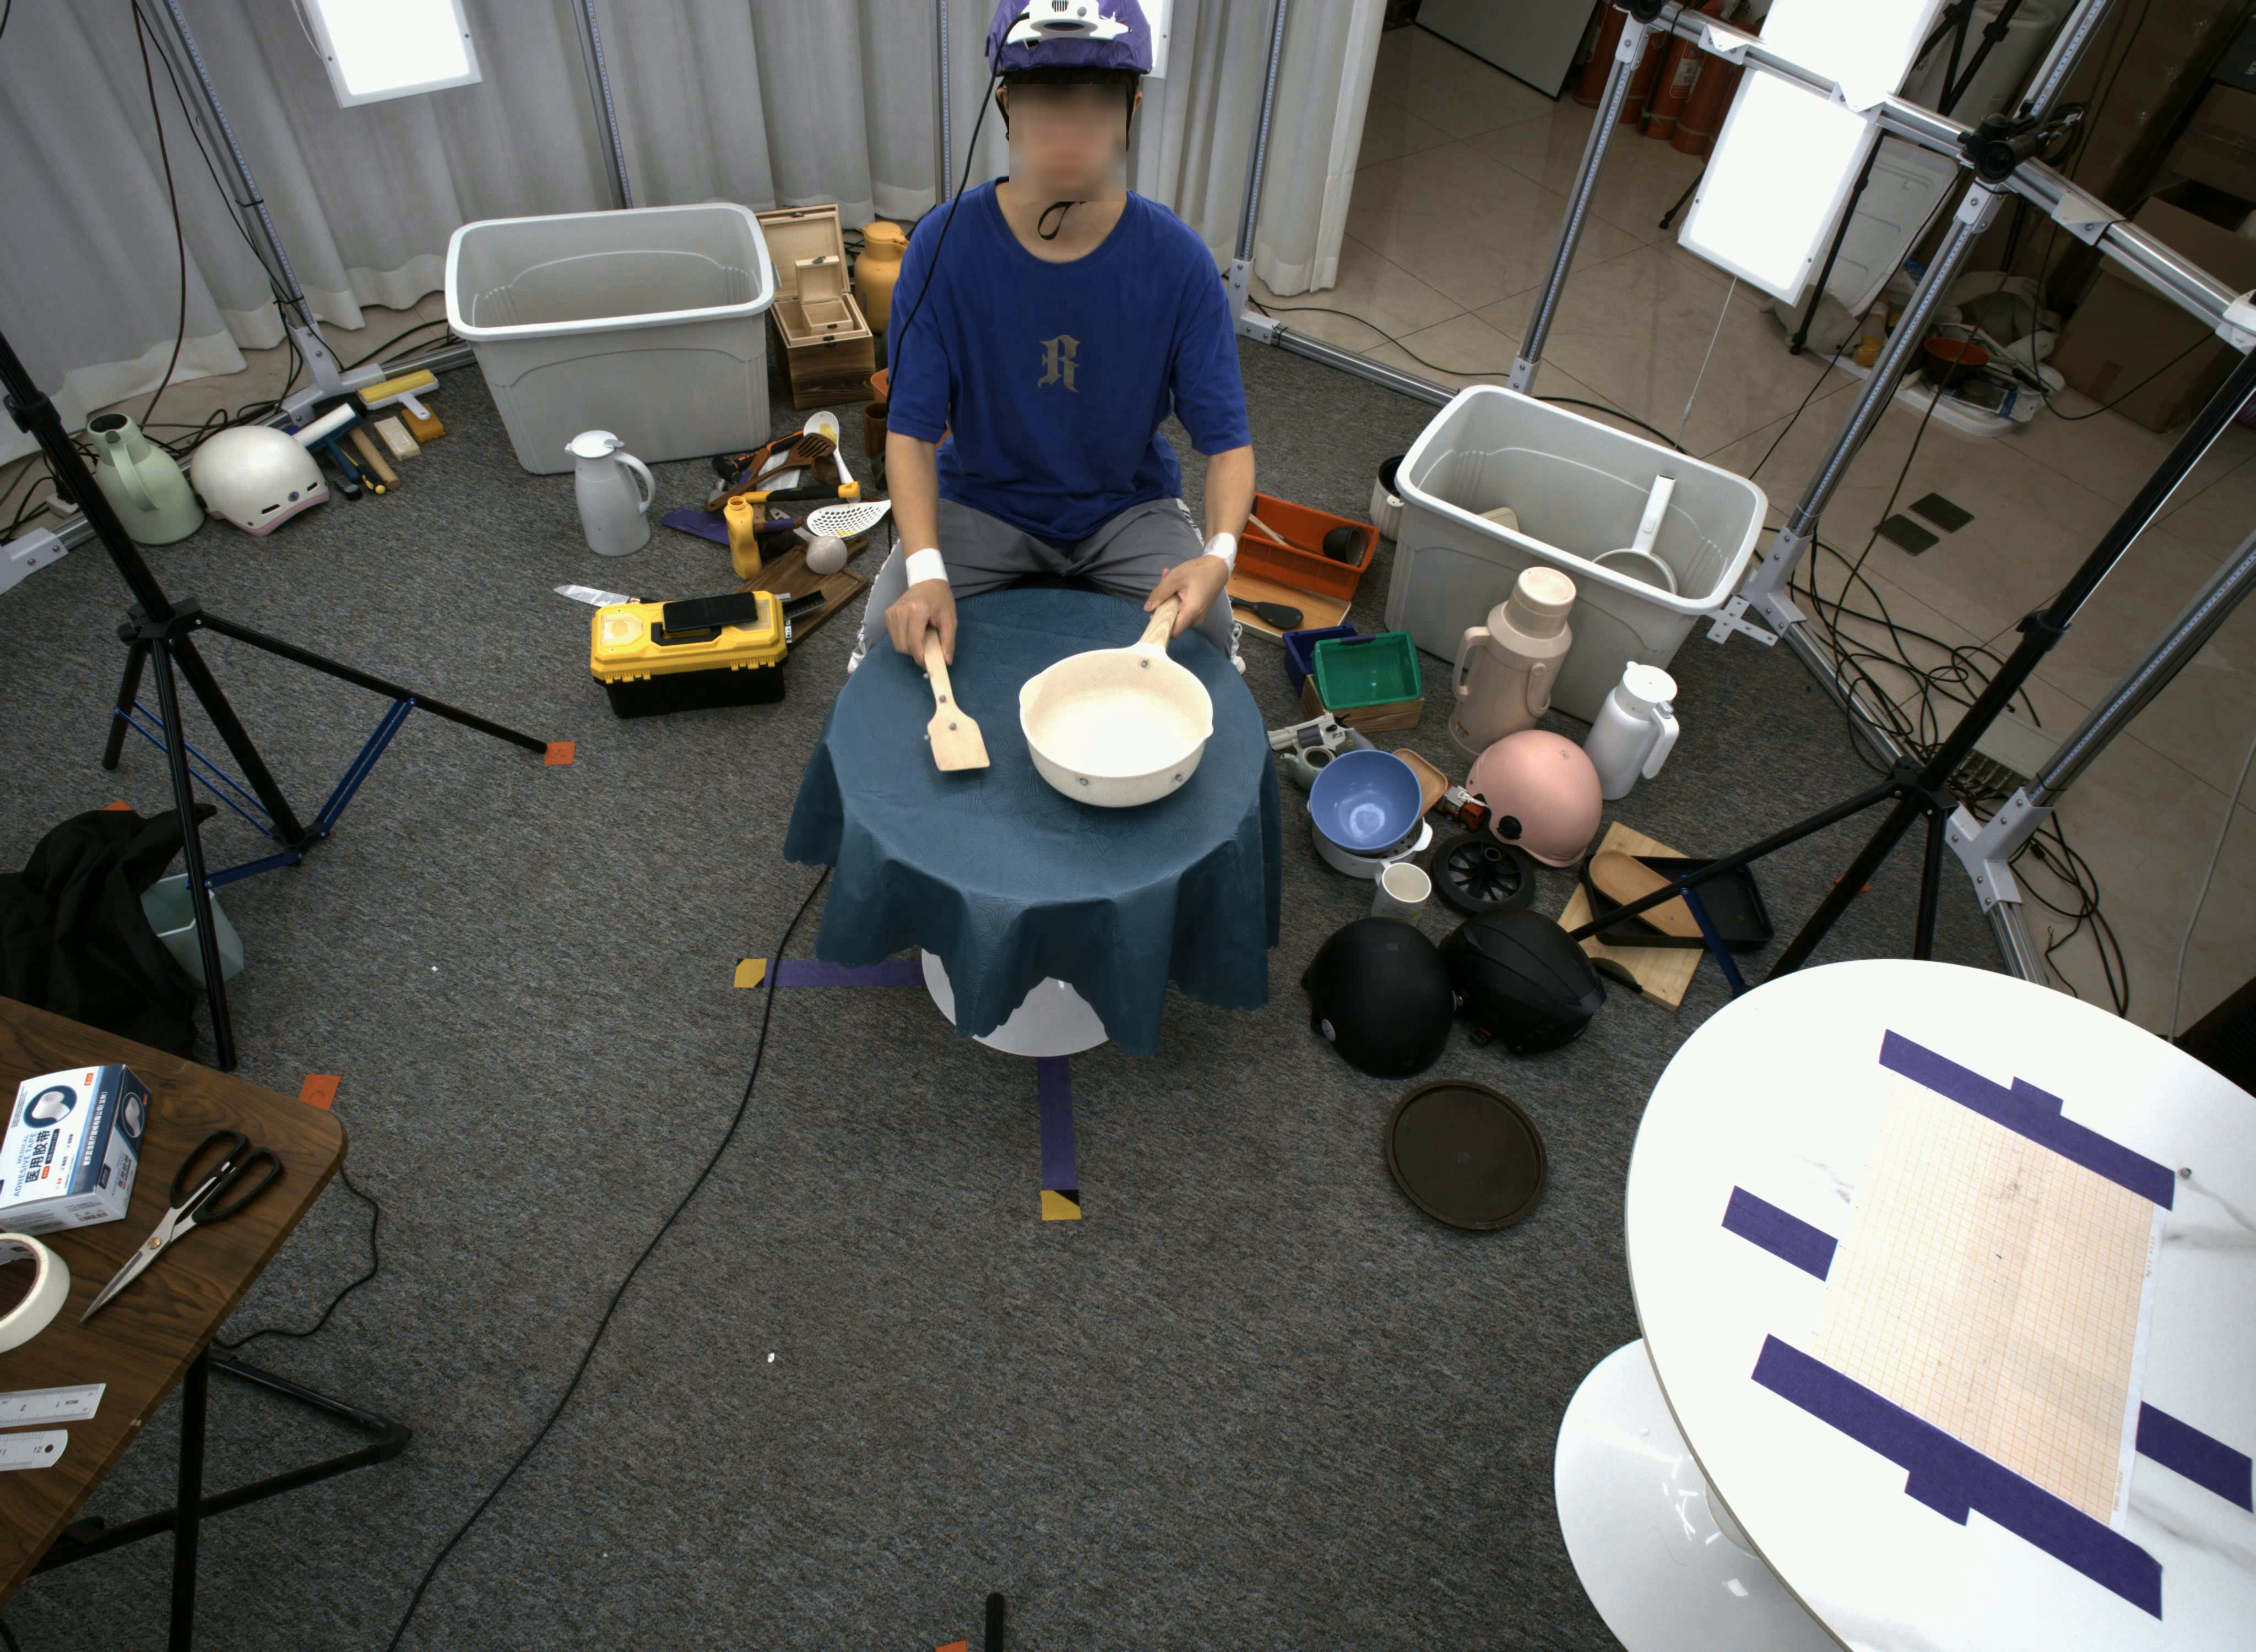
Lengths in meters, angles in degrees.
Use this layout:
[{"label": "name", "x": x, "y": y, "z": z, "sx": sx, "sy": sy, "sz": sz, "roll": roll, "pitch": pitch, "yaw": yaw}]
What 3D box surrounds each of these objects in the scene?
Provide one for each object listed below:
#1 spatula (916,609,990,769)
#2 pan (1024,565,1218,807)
[{"label": "spatula", "x": -0.255, "y": -0.194, "z": 1.777, "sx": 0.072, "sy": 0.010, "sz": 0.300, "roll": -6, "pitch": 54, "yaw": -18}, {"label": "pan", "x": 0.020, "y": -0.195, "z": 1.760, "sx": 0.264, "sy": 0.099, "sz": 0.444, "roll": 12, "pitch": 47, "yaw": 14}]
